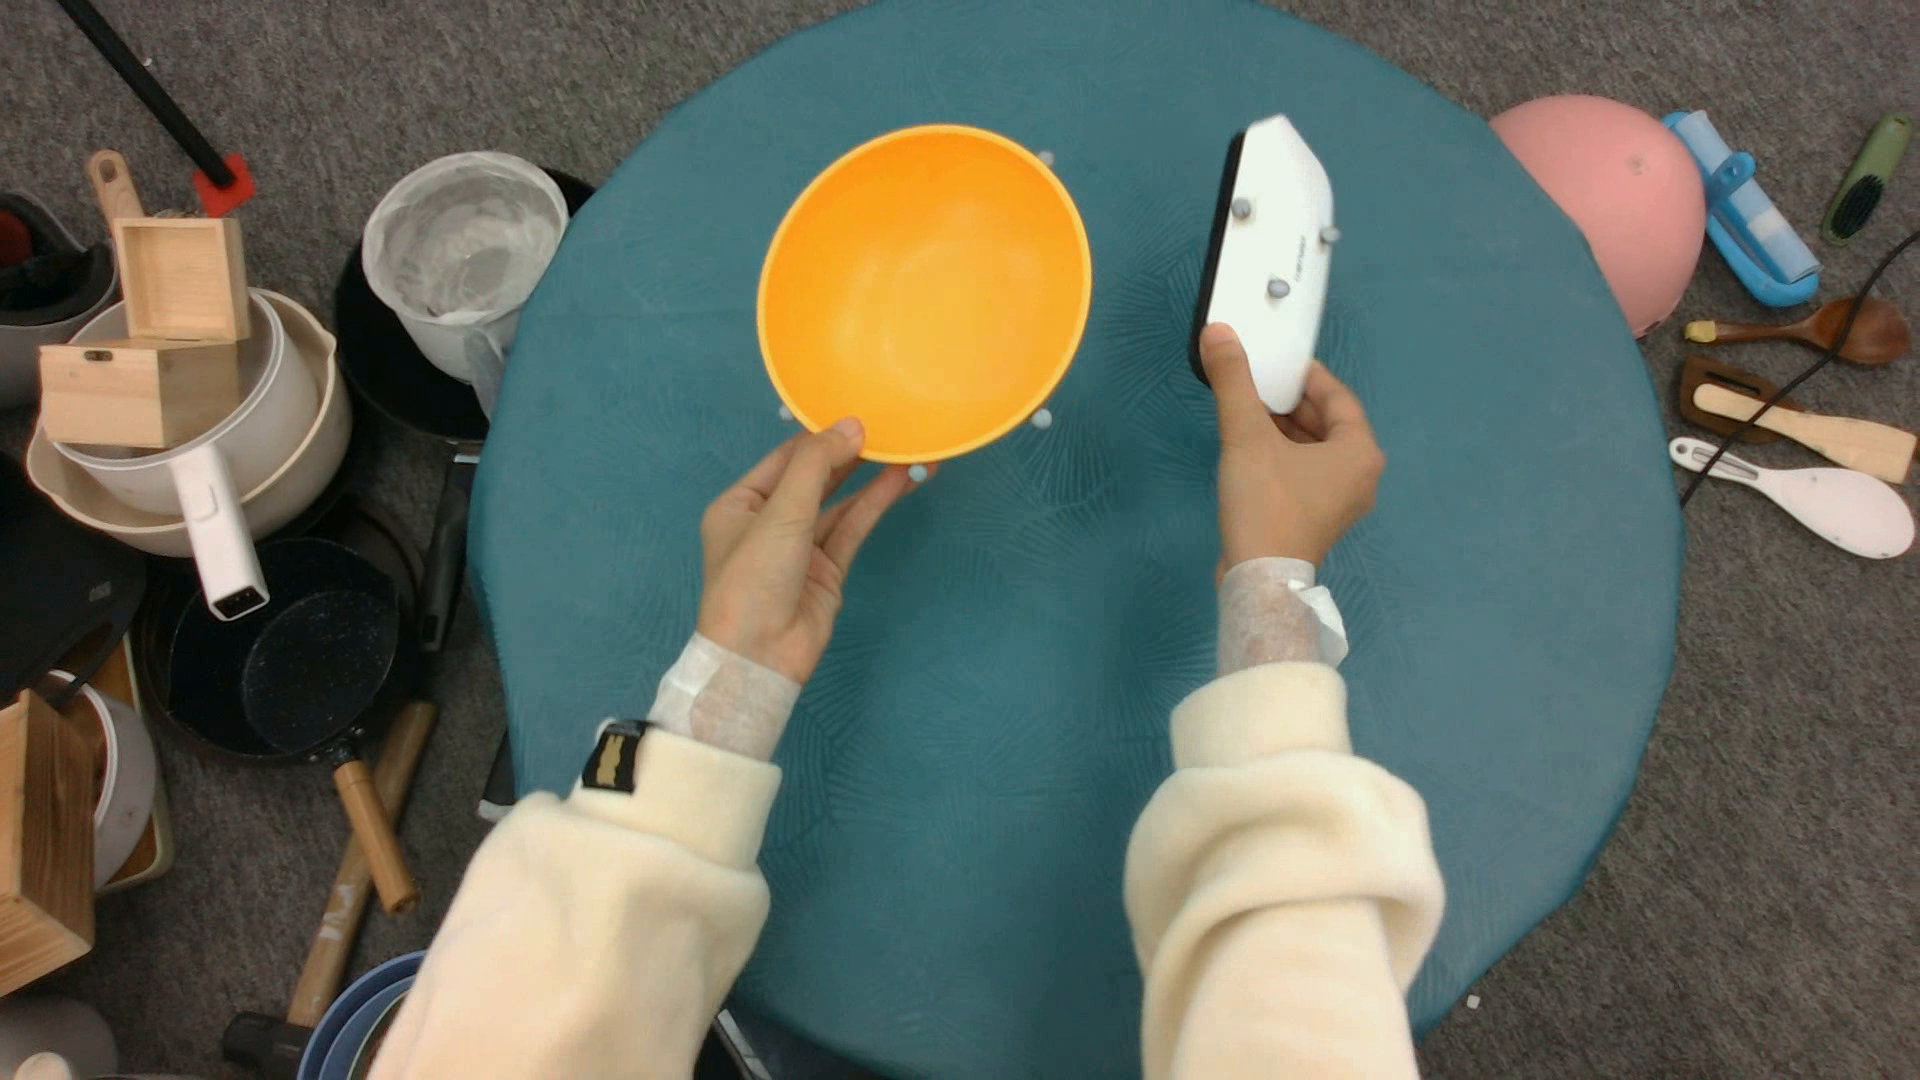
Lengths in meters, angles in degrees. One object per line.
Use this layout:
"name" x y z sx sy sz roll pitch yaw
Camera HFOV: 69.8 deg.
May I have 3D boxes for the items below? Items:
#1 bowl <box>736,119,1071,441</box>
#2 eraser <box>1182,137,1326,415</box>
"bowl" -0.020 -0.105 0.605 0.145 0.060 0.145 -2 77 10
"eraser" 0.141 -0.125 0.651 0.063 0.034 0.132 26 65 -32
